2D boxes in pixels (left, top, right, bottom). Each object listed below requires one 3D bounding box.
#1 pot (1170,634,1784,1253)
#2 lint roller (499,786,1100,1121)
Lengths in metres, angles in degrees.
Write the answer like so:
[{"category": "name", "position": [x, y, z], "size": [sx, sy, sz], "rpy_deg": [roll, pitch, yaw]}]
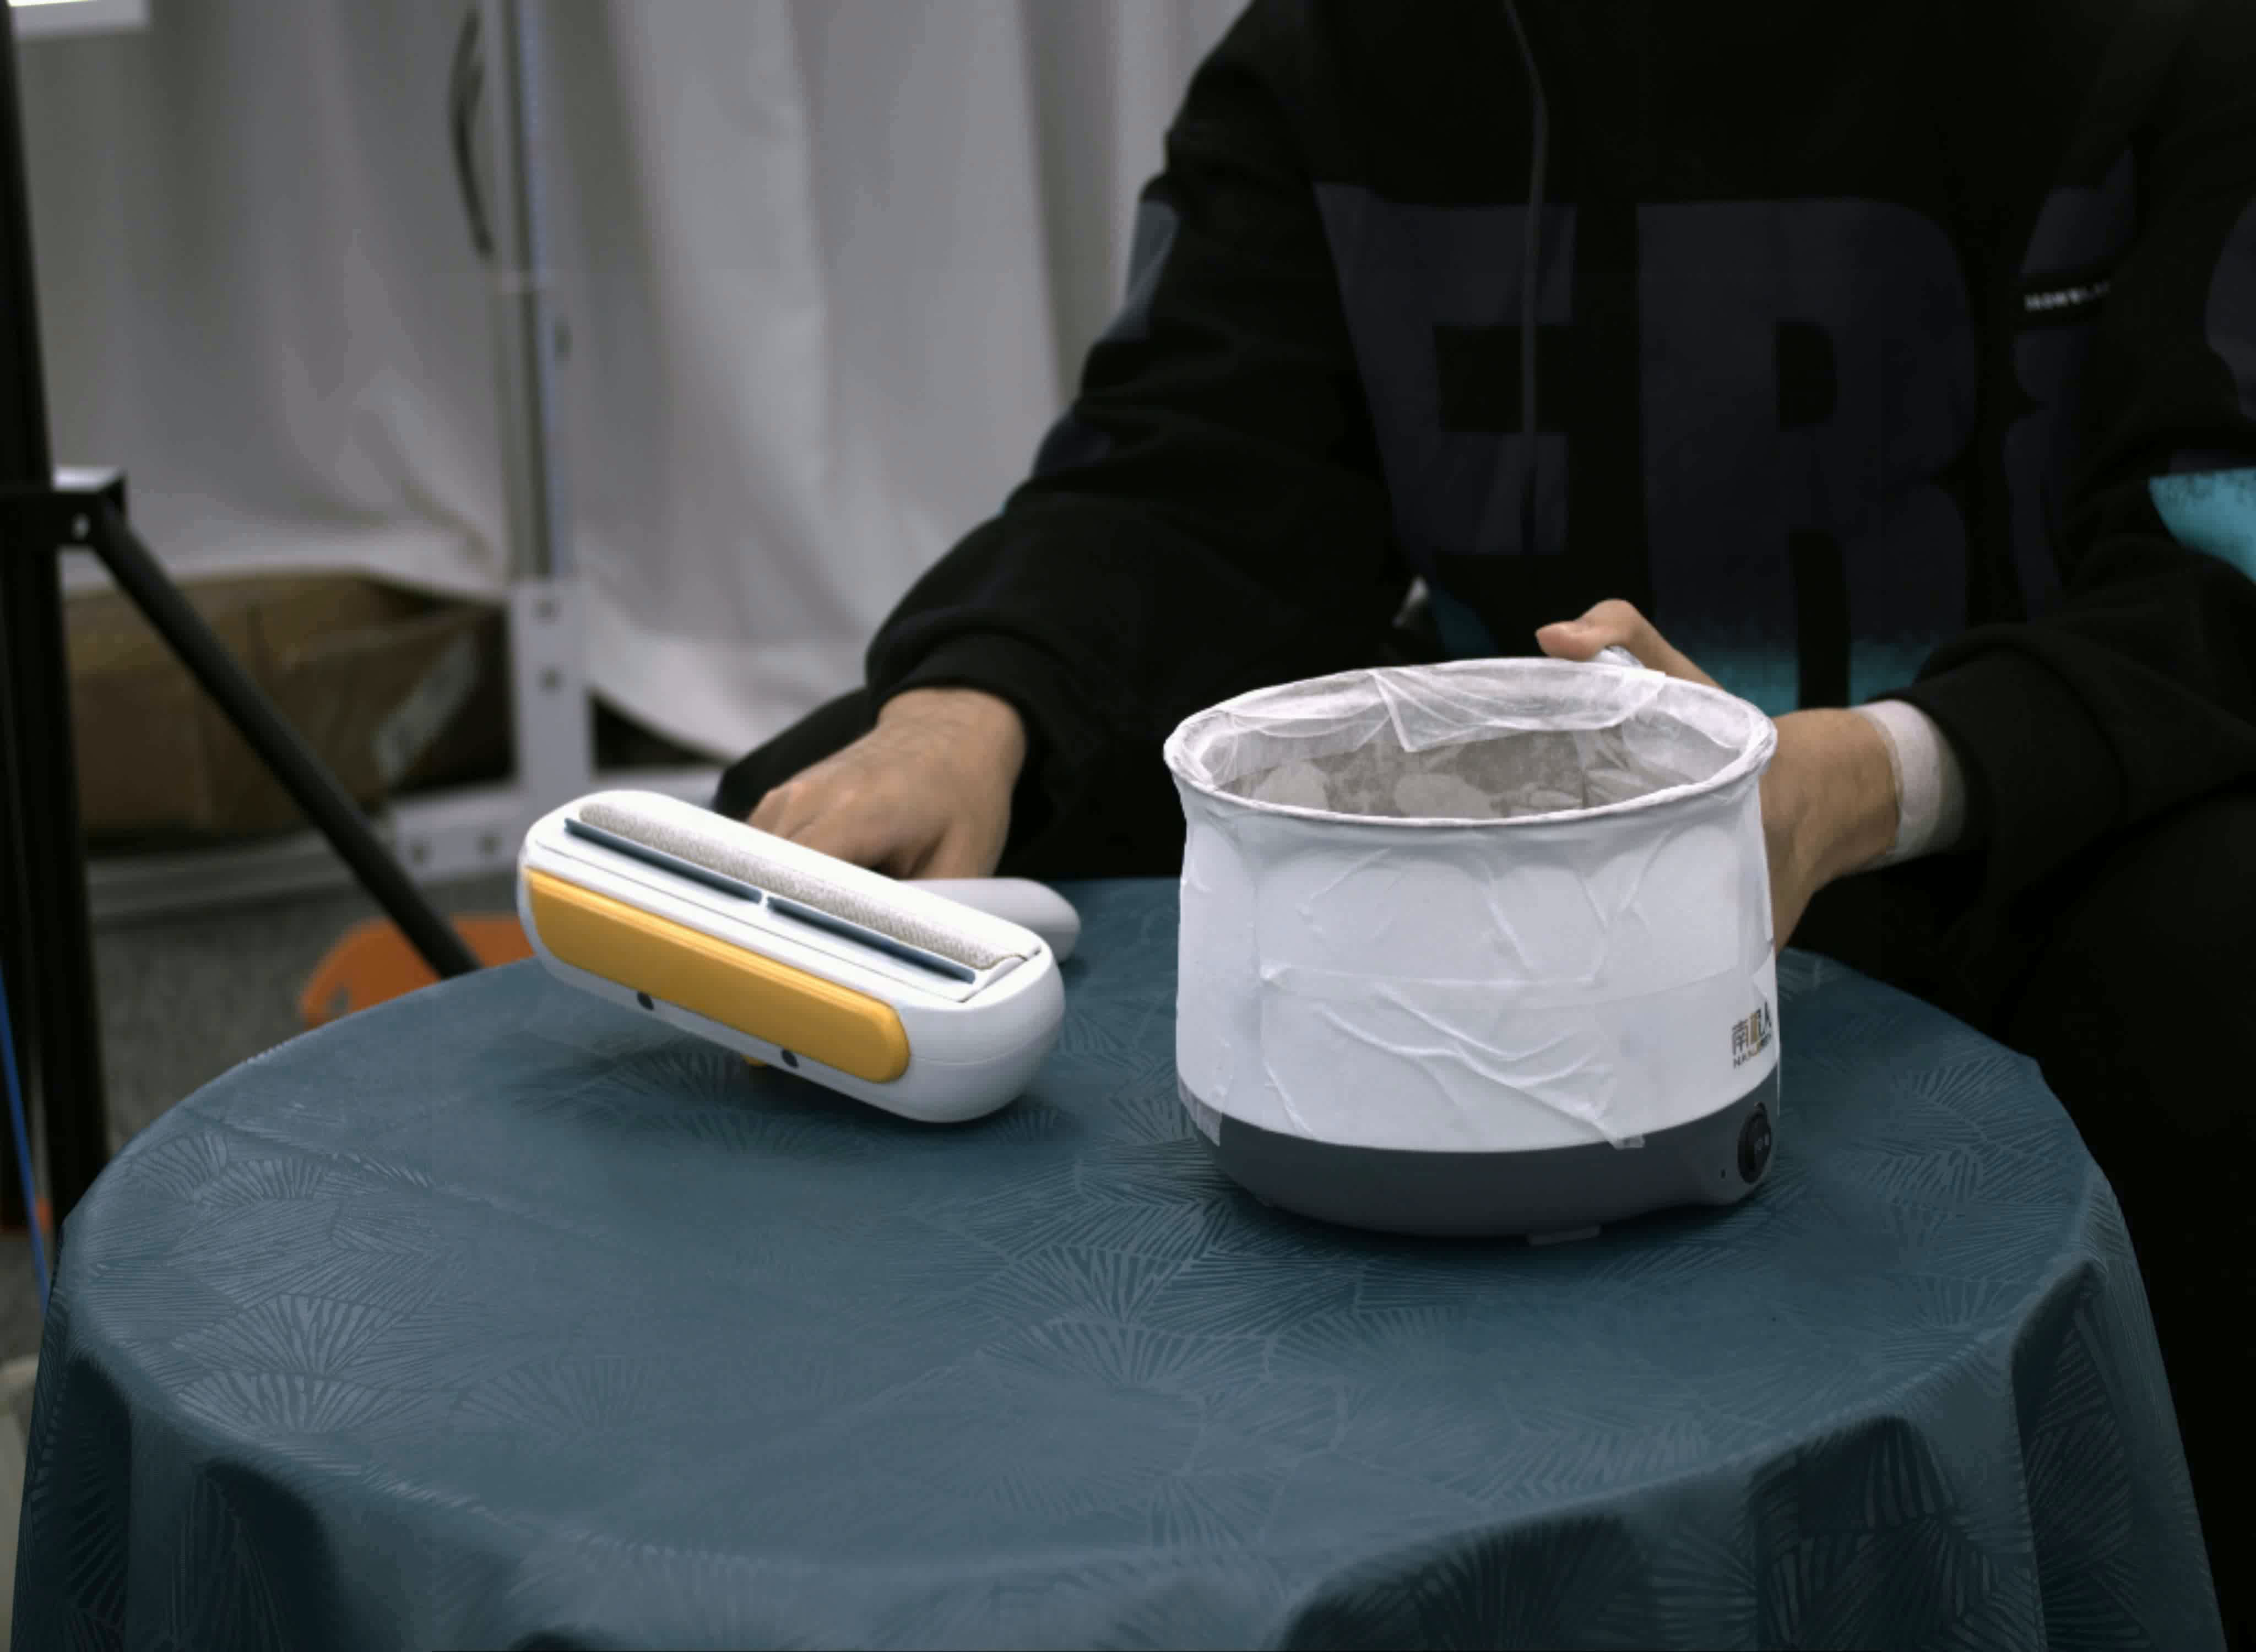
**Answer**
[{"category": "pot", "position": [0.114, 0.028, 1.565], "size": [0.182, 0.136, 0.230], "rpy_deg": [7, 20, 27]}, {"category": "lint roller", "position": [-0.078, 0.033, 1.714], "size": [0.197, 0.074, 0.188], "rpy_deg": [16, 22, 36]}]
